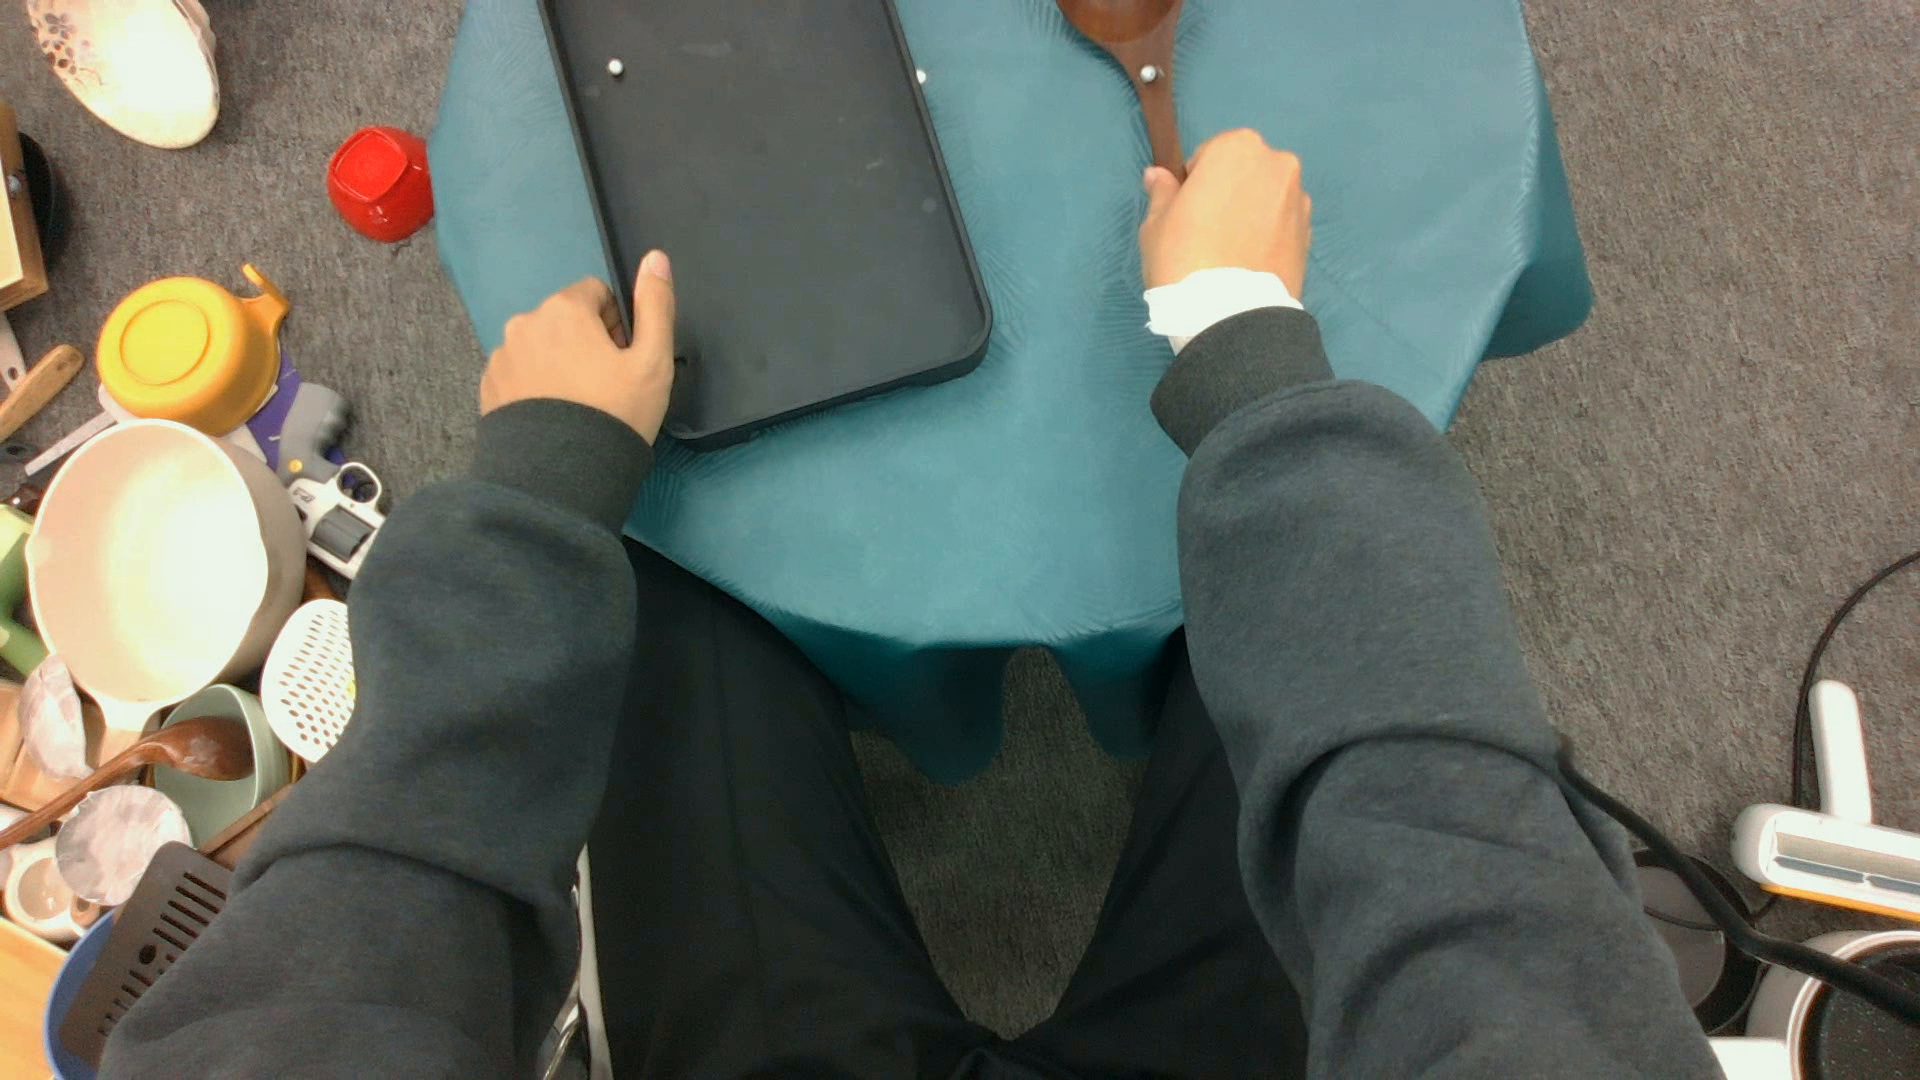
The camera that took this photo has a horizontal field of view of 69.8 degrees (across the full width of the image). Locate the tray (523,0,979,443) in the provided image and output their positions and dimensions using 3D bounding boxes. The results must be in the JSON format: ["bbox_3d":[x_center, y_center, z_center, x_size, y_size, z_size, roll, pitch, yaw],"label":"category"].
[{"bbox_3d":[-0.118,-0.218,0.734,0.184,0.037,0.318,-17,77,-2],"label":"tray"}]

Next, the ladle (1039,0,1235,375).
[{"bbox_3d":[0.095,-0.212,0.715,0.076,0.065,0.260,-18,77,28],"label":"ladle"}]
